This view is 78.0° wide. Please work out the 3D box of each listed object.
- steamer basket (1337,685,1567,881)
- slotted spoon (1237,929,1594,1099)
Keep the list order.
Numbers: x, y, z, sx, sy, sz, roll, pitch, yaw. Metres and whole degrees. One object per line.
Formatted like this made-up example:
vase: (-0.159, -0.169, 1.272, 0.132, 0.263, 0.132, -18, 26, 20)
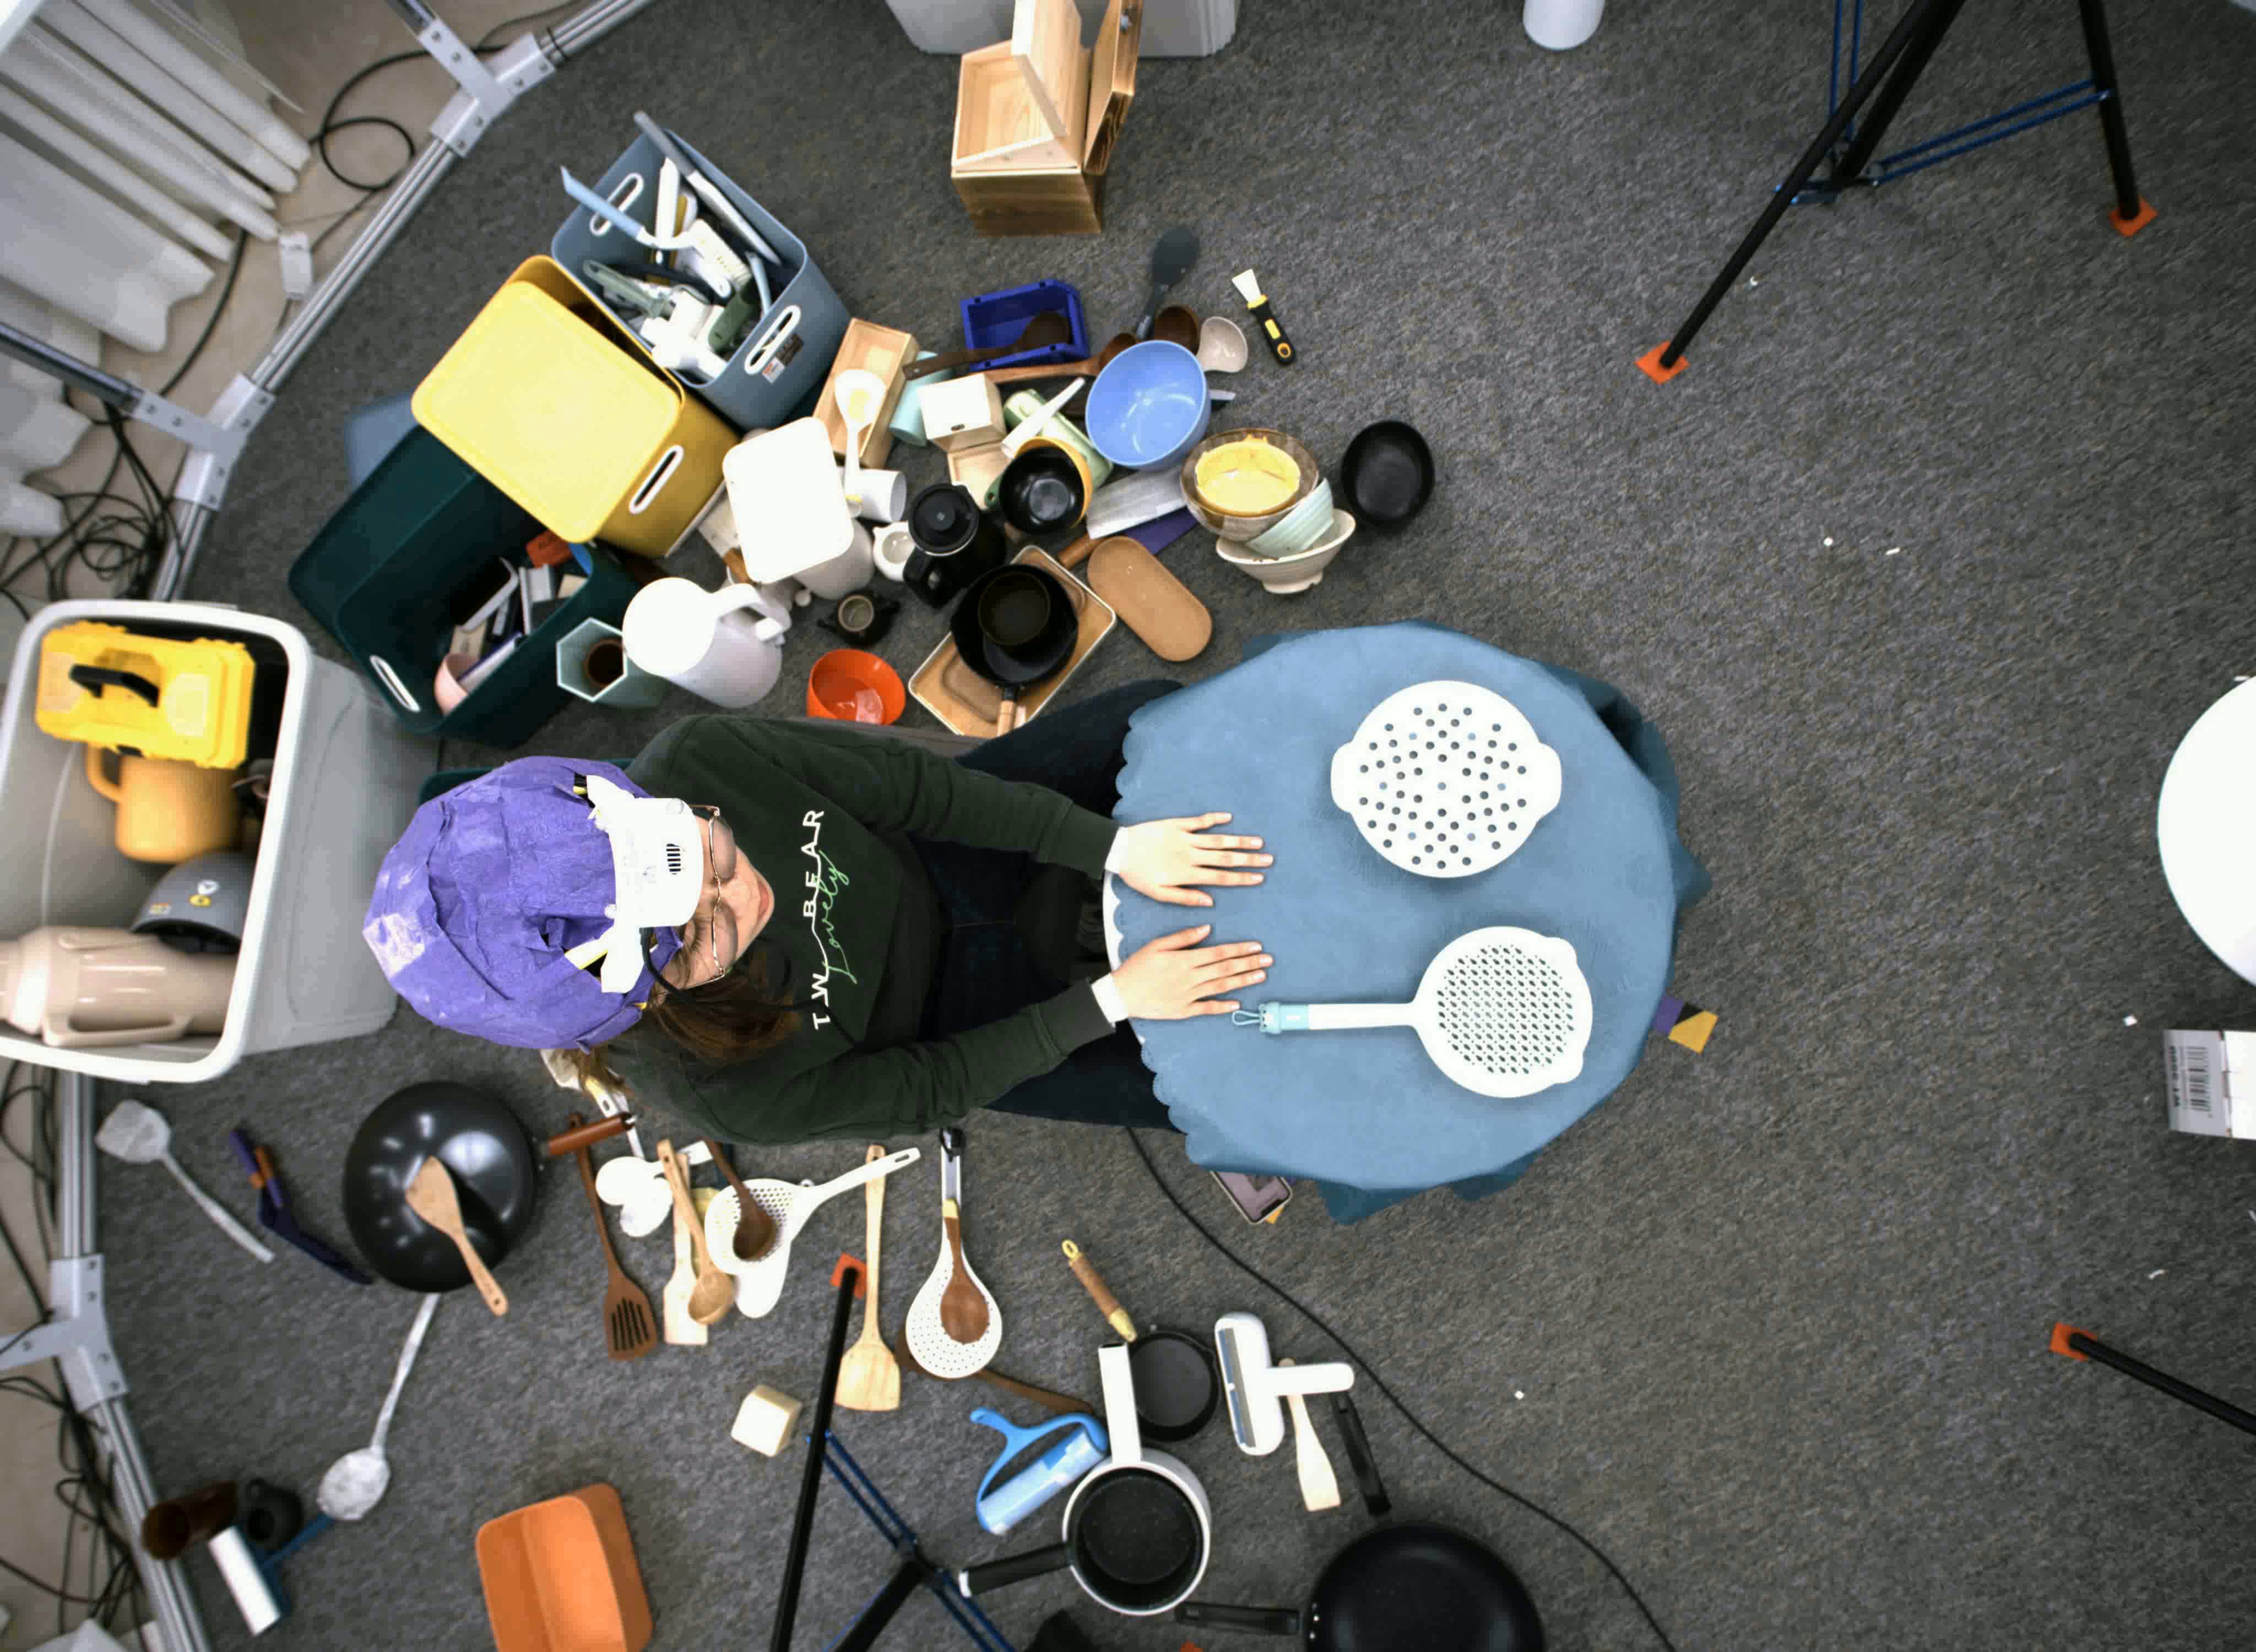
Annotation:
steamer basket: (0.334, -0.044, 1.429, 0.231, 0.069, 0.200, 0, 85, 11)
slotted spoon: (0.288, 0.193, 1.420, 0.360, 0.075, 0.168, -3, 85, 10)
